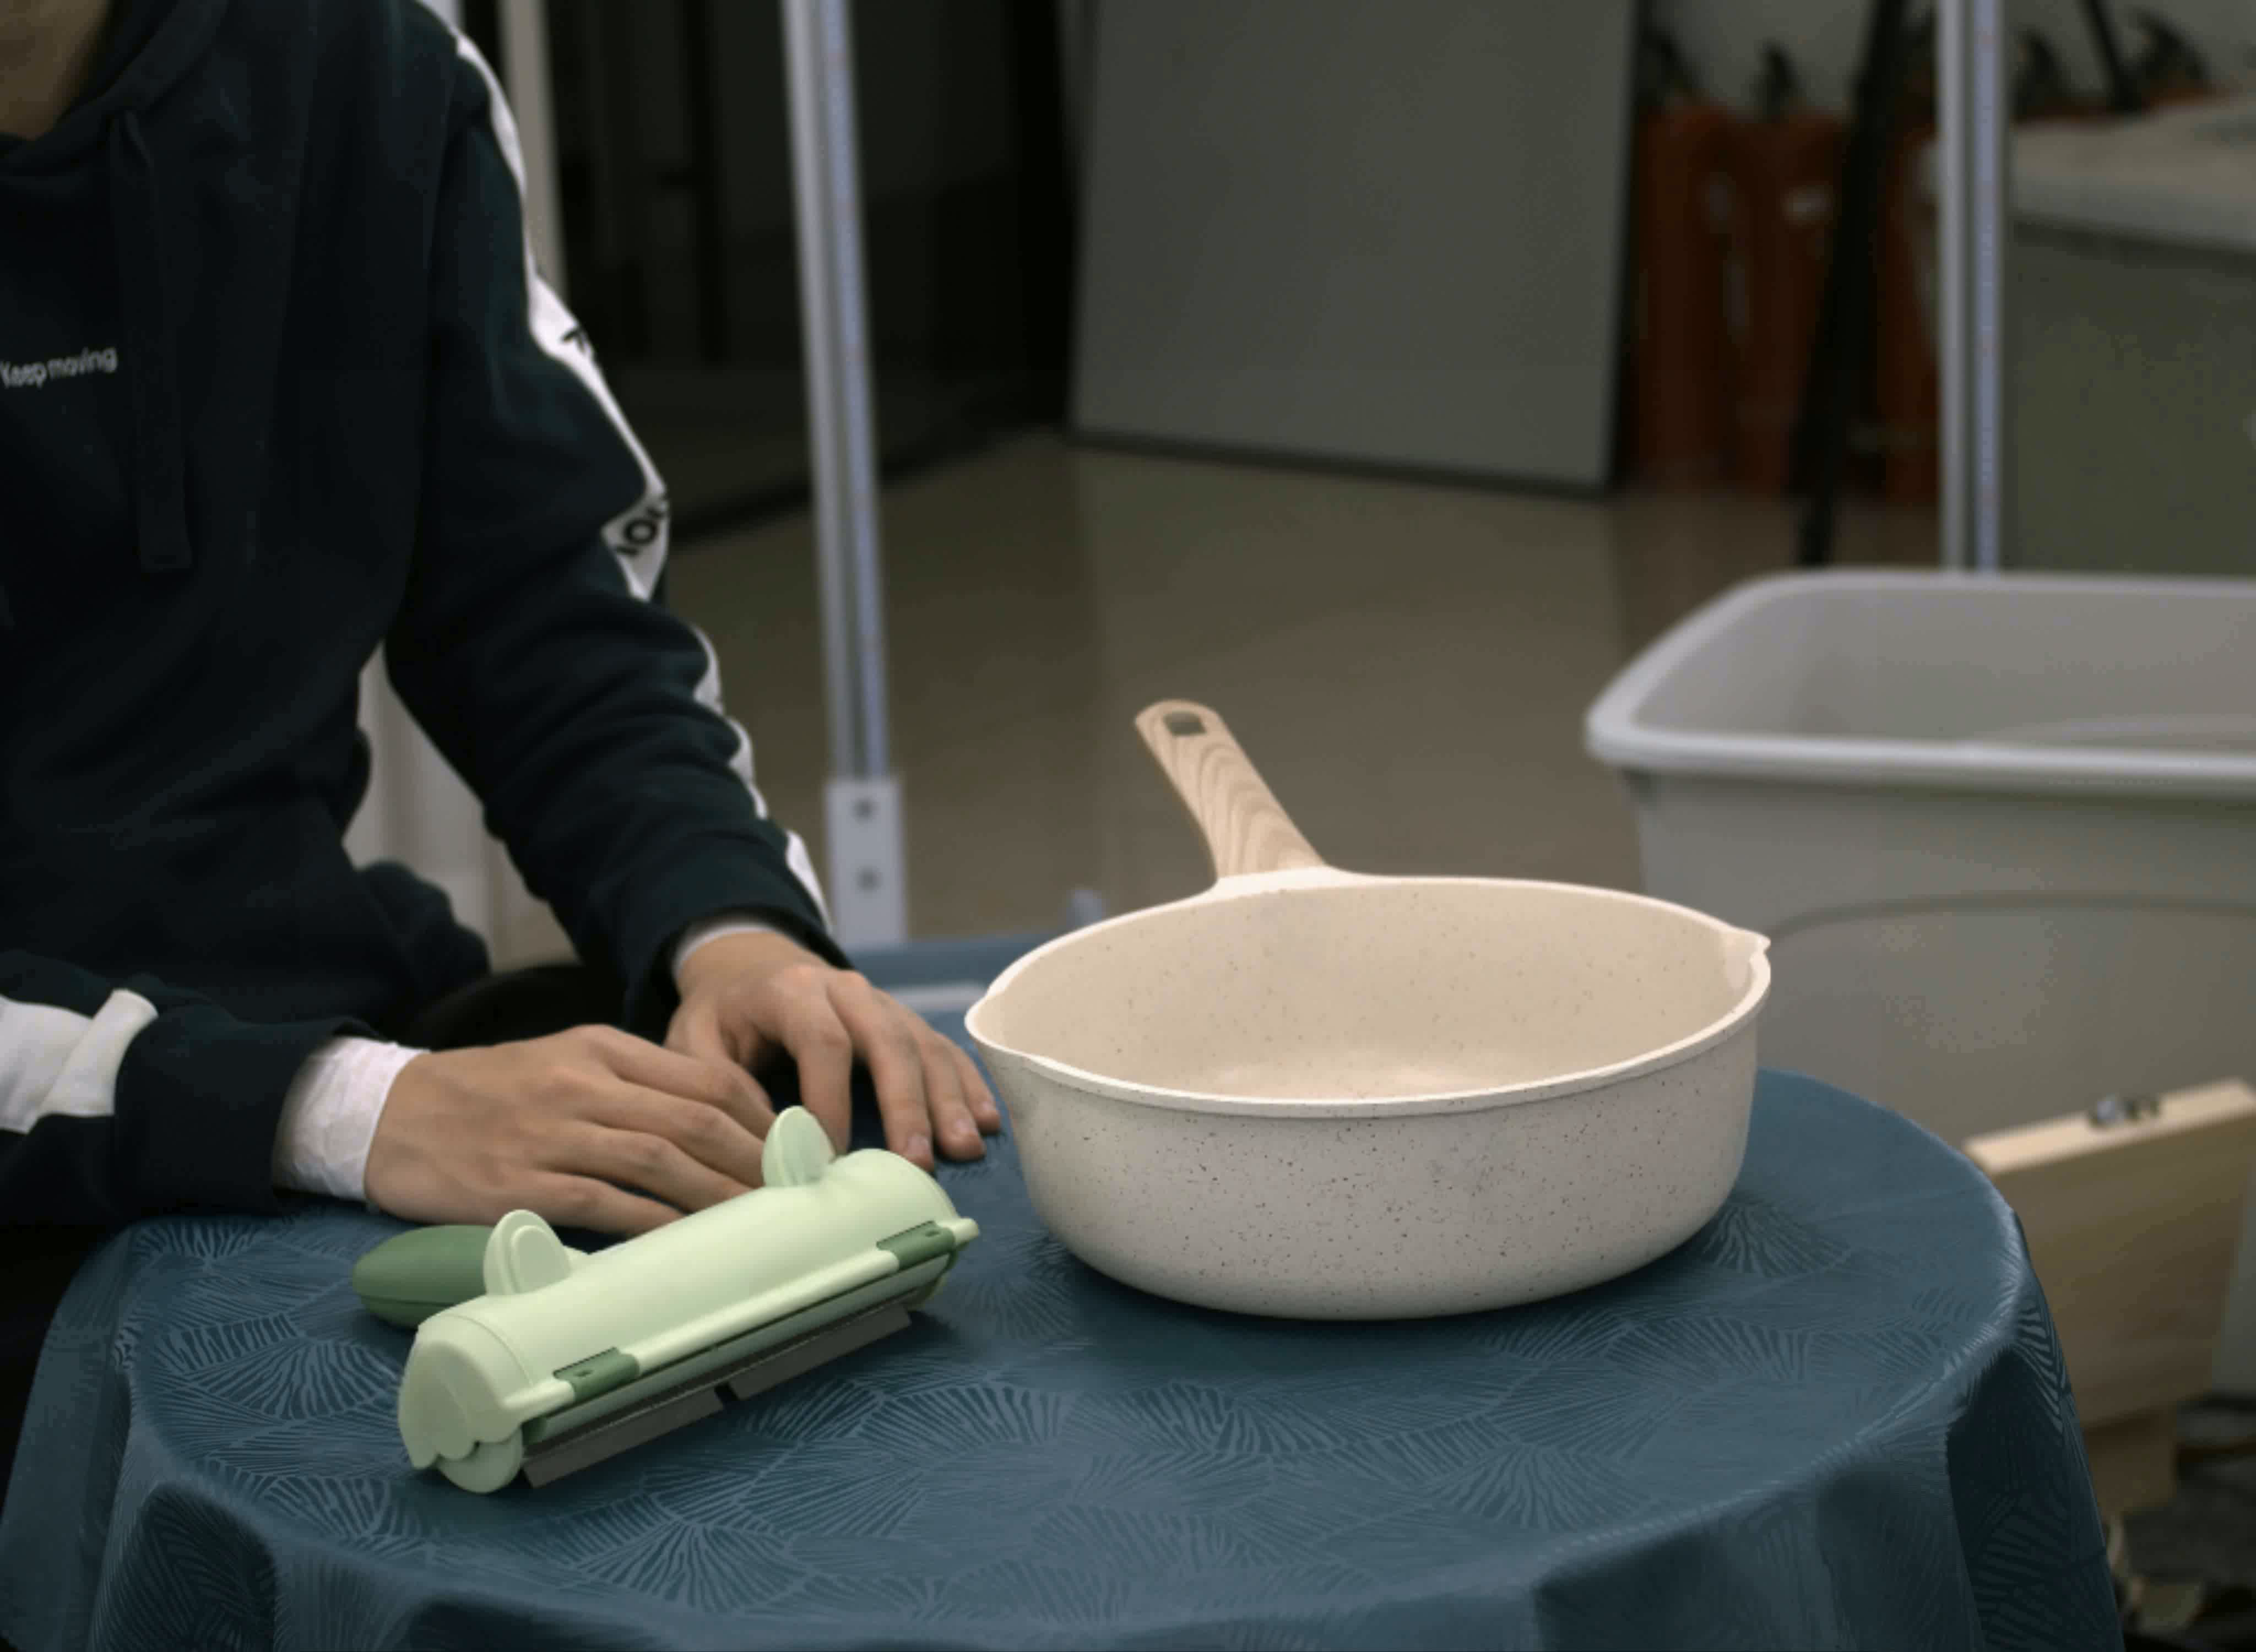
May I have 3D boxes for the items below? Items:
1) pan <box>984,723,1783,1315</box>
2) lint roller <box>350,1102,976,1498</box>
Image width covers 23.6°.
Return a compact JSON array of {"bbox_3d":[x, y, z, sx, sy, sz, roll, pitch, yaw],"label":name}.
[{"bbox_3d":[0.066,0.059,1.798,0.259,0.103,0.438,-8,14,-10],"label":"pan"},{"bbox_3d":[-0.173,0.127,1.637,0.185,0.083,0.195,15,23,39],"label":"lint roller"}]
